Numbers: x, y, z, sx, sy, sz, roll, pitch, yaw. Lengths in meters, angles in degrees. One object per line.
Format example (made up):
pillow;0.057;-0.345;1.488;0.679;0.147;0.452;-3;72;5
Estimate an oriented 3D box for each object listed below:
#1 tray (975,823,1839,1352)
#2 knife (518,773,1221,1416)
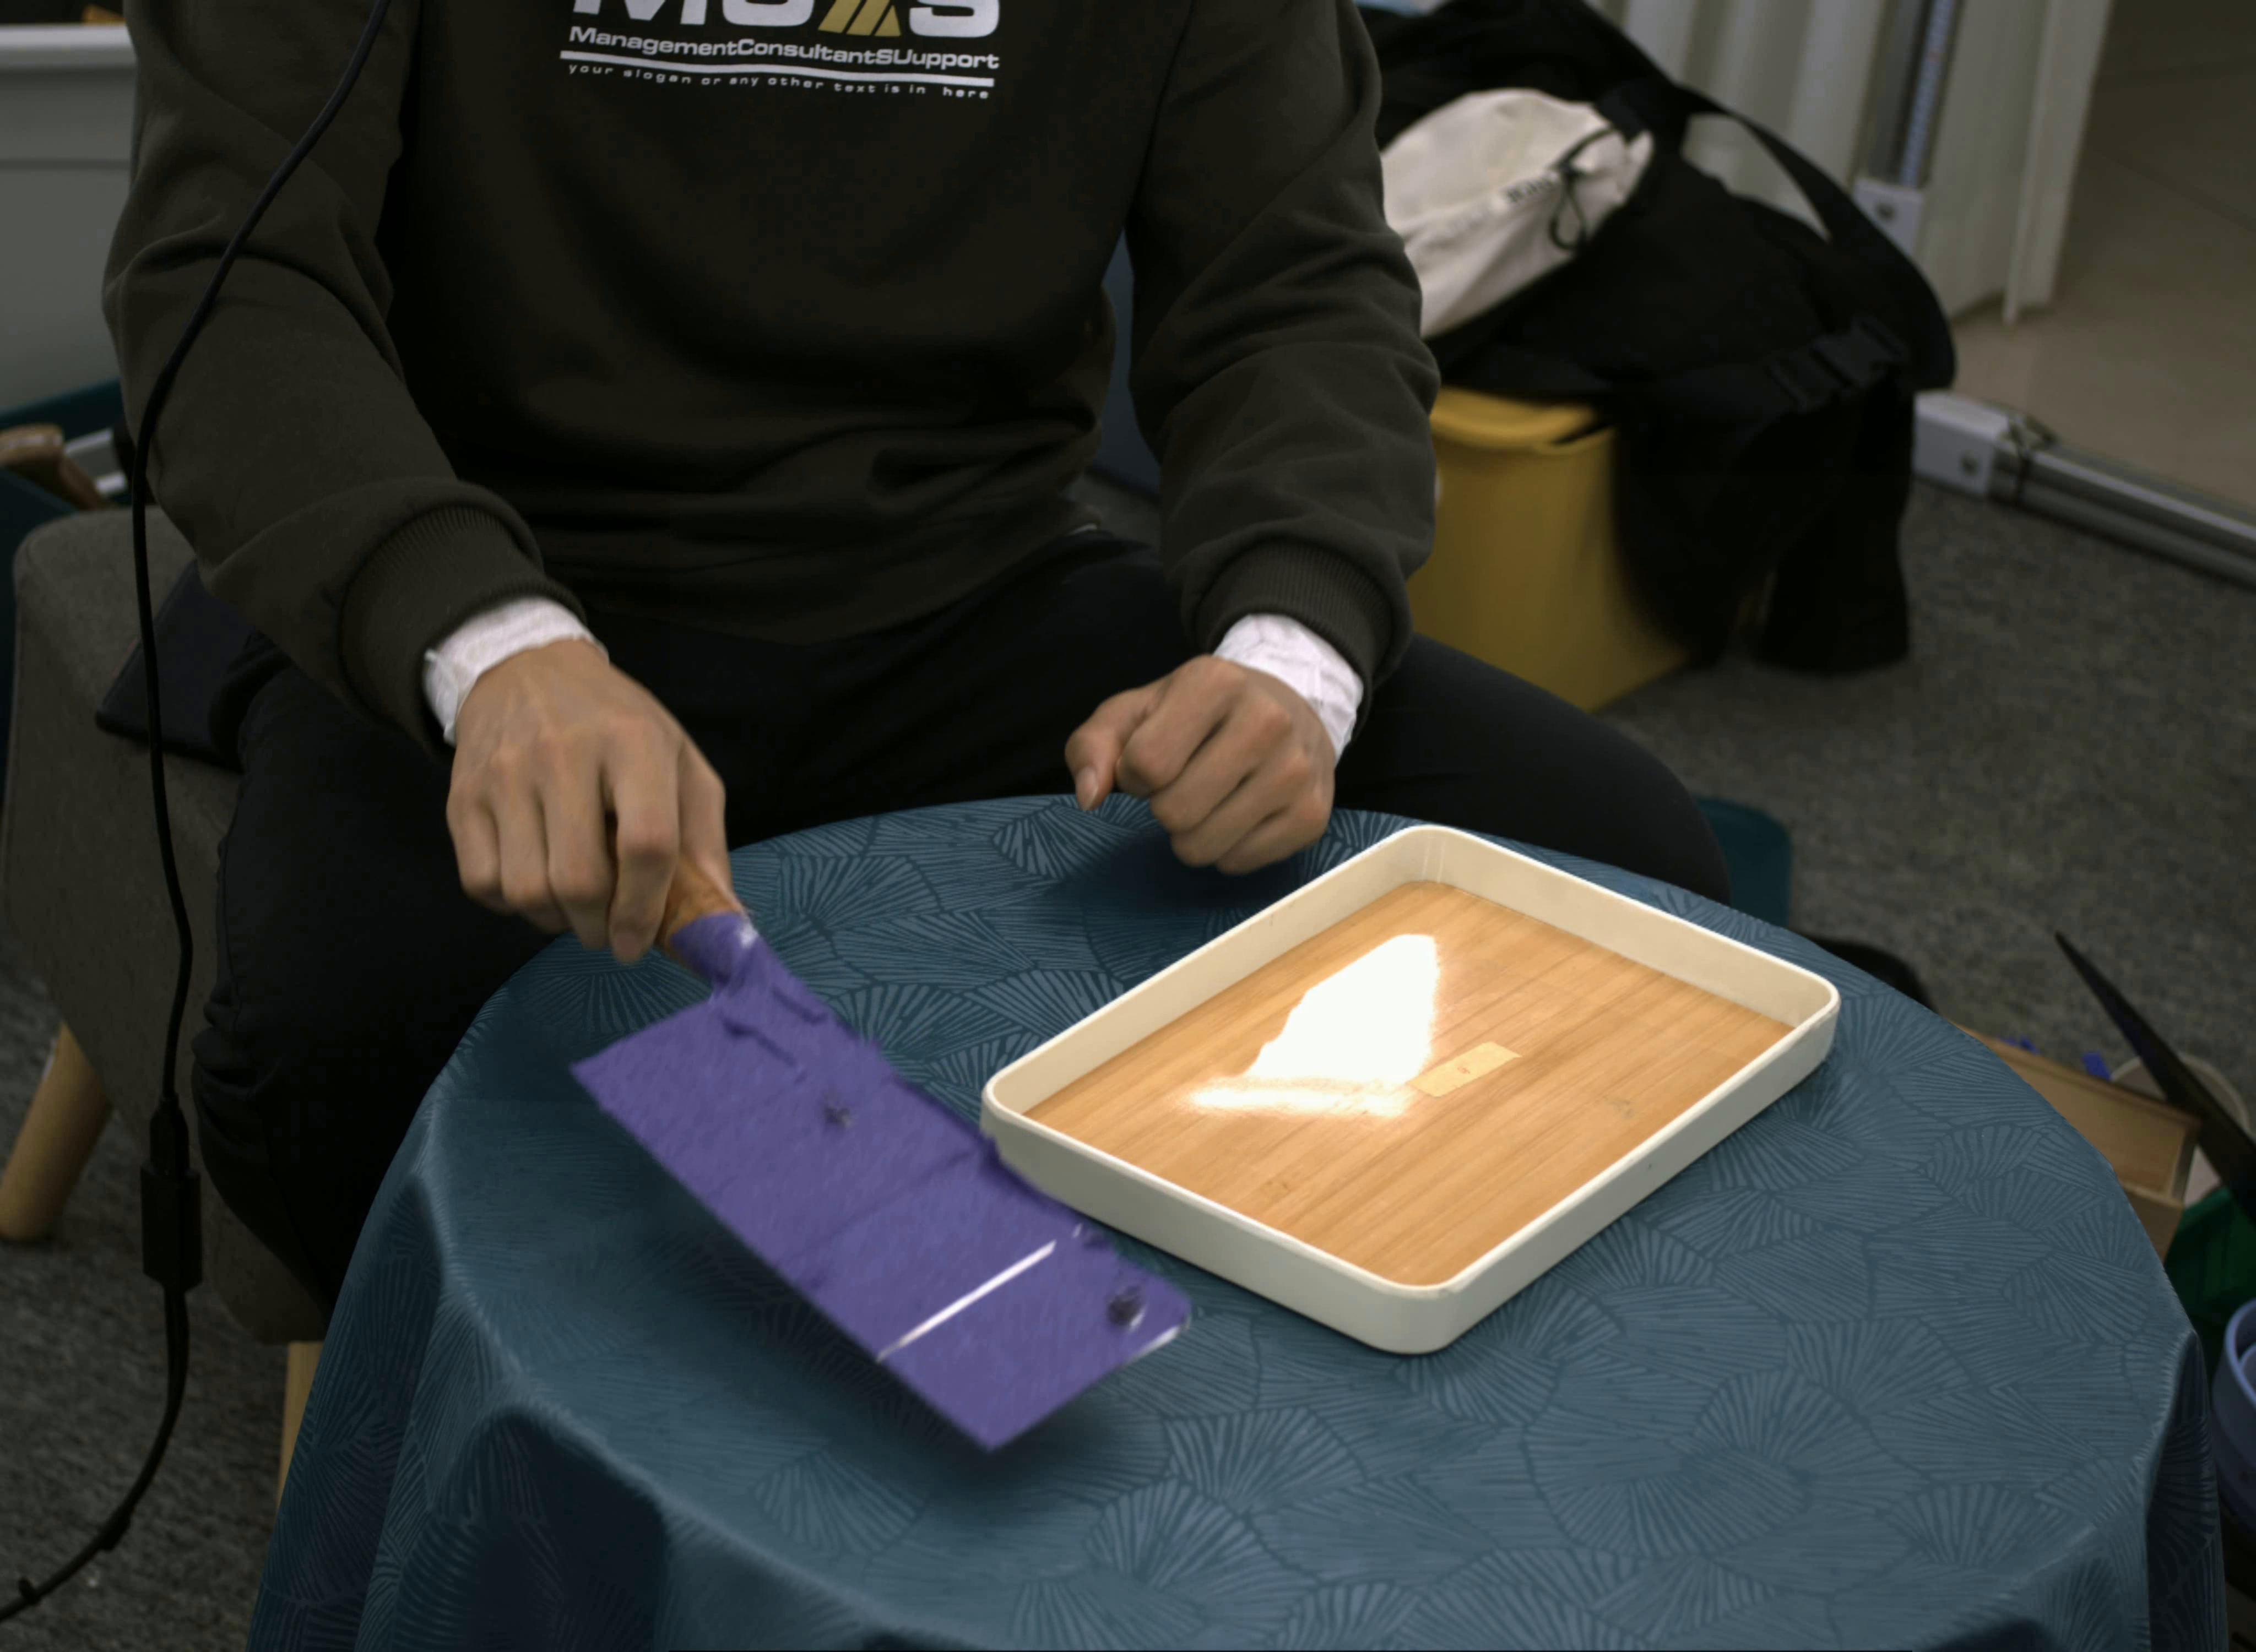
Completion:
tray;0.102;0.086;1.874;0.192;0.027;0.299;22;31;29
knife;-0.112;0.082;1.720;0.103;0.032;0.318;-27;49;-36
